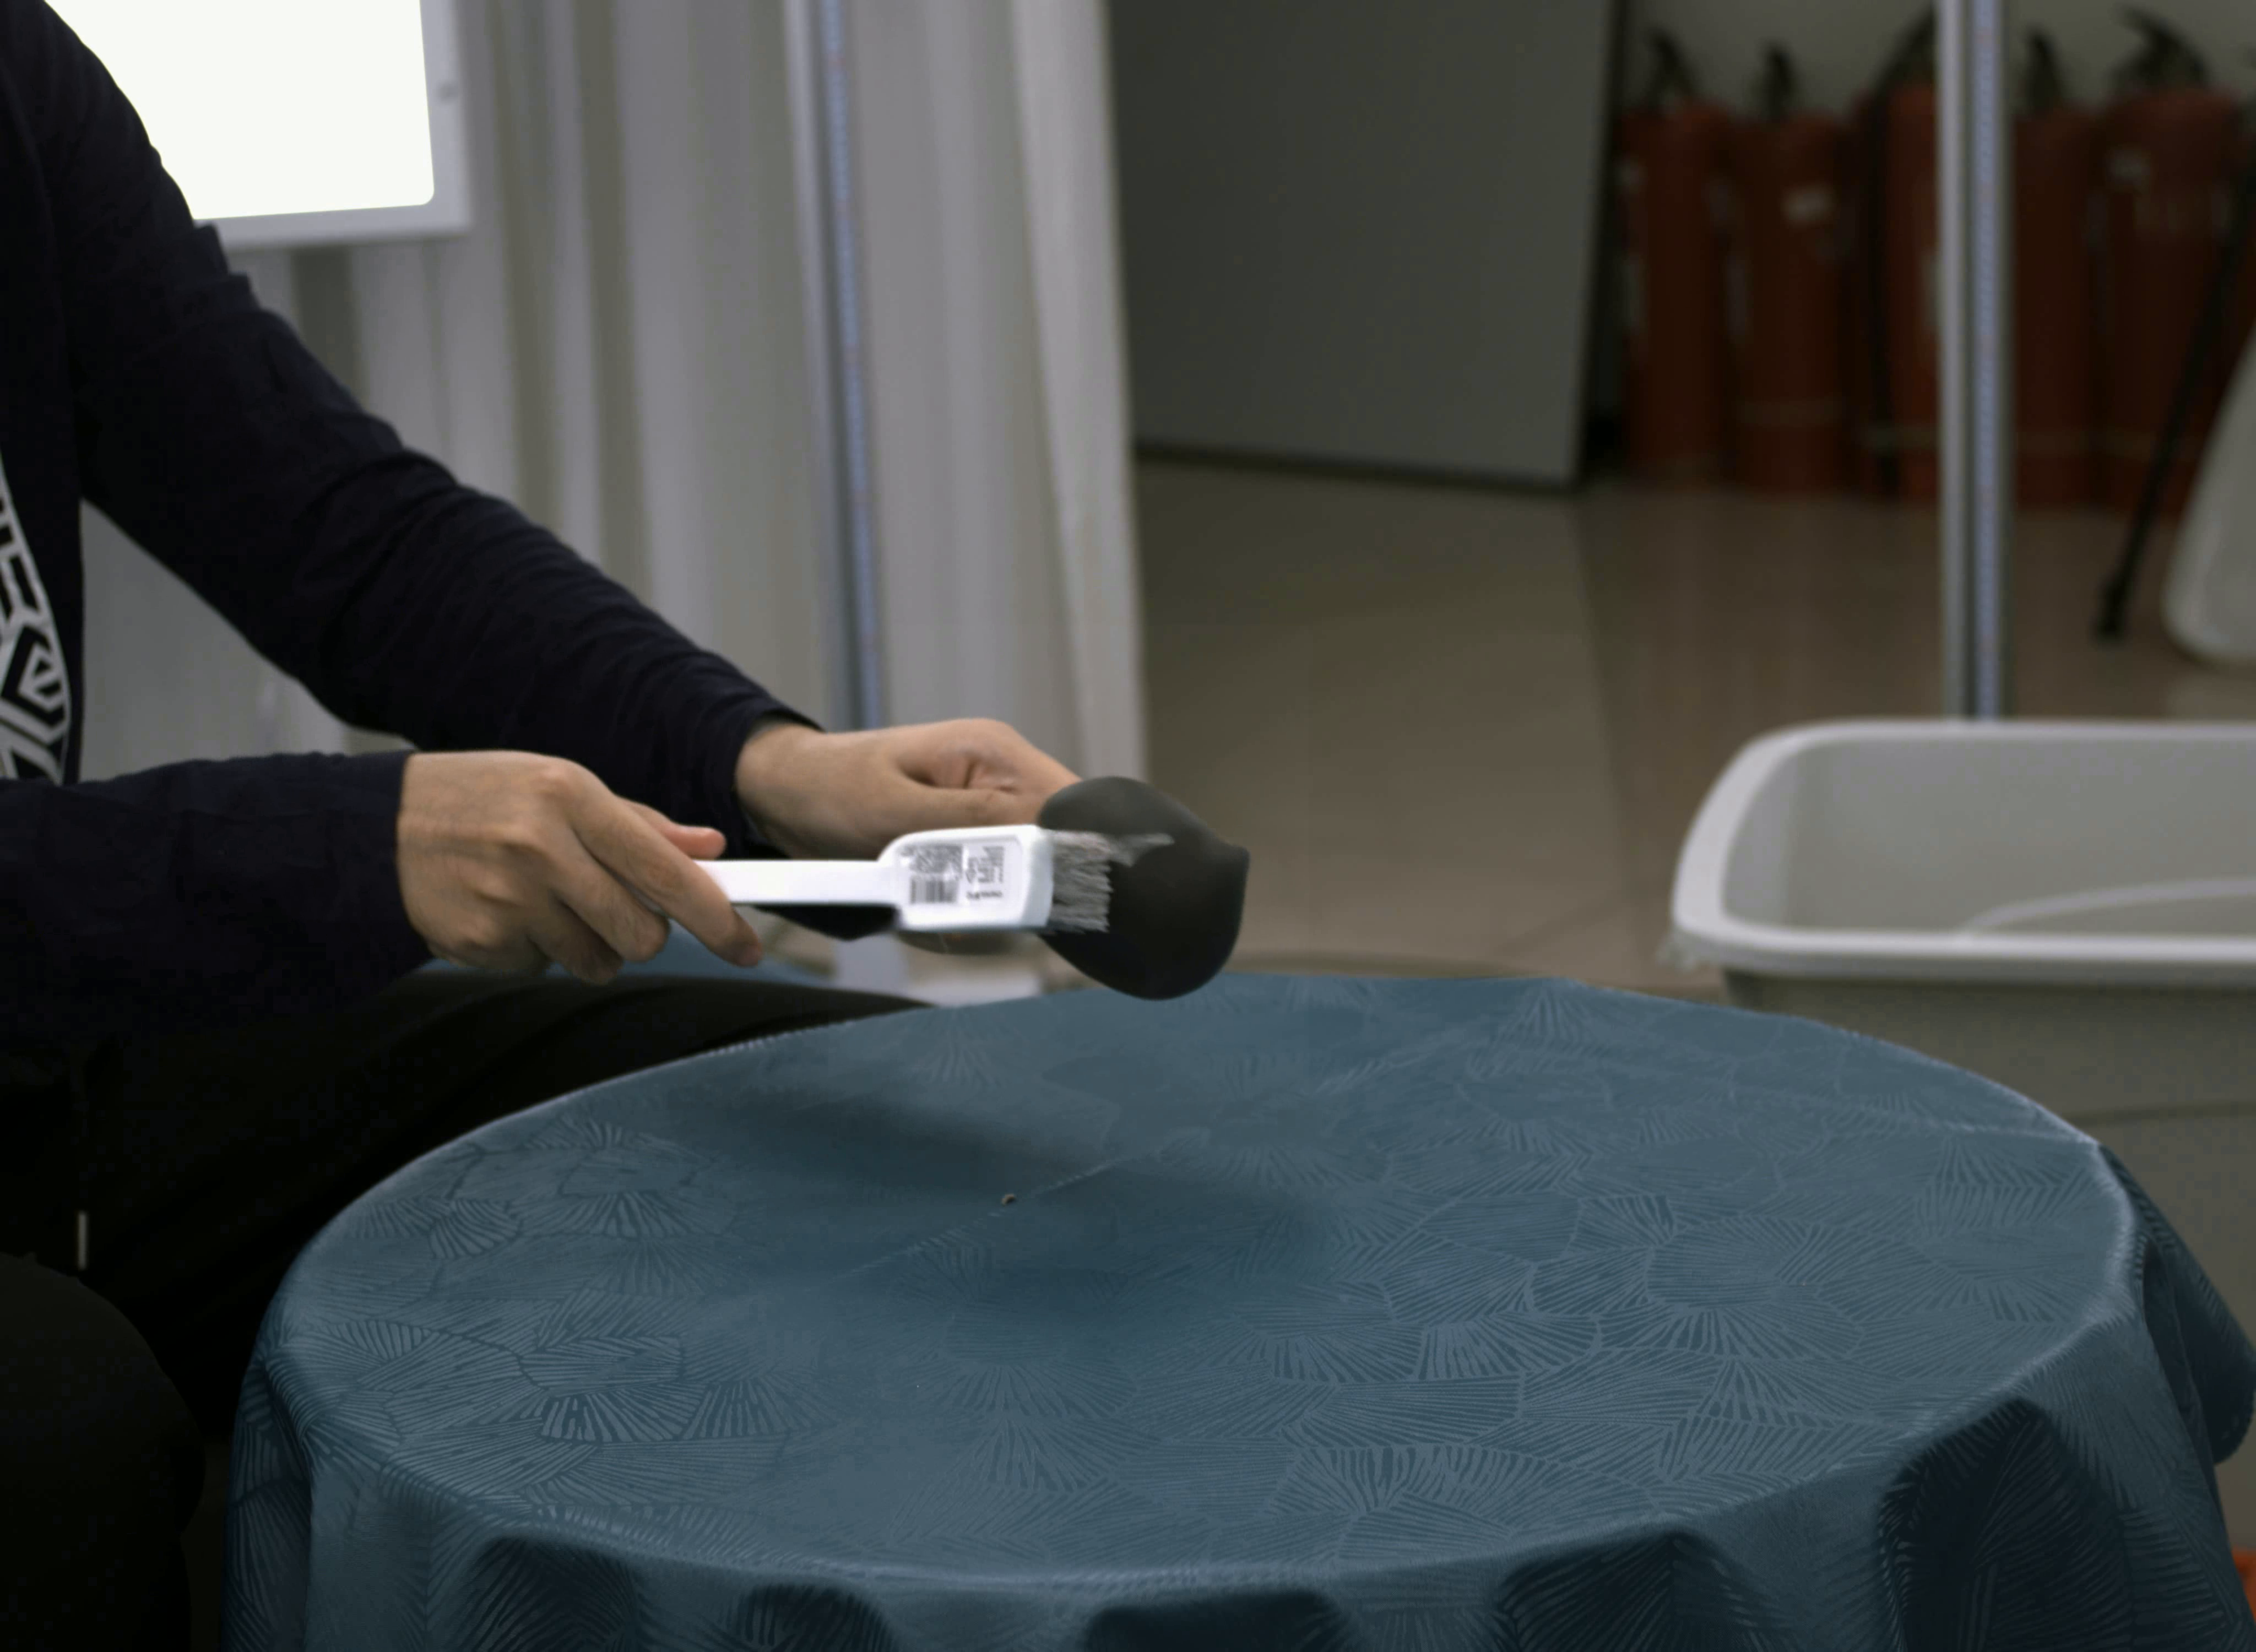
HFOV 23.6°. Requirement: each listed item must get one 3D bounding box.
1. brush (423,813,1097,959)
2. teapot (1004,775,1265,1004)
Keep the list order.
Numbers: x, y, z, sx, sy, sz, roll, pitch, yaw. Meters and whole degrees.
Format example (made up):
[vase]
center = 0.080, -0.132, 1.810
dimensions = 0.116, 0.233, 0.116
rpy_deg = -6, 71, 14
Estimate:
[brush]
center = -0.121, 0.023, 1.781
dimensions = 0.244, 0.035, 0.049
rpy_deg = -6, -7, 27
[teapot]
center = -0.005, 0.019, 1.787
dimensions = 0.115, 0.082, 0.053
rpy_deg = 10, 59, 50
